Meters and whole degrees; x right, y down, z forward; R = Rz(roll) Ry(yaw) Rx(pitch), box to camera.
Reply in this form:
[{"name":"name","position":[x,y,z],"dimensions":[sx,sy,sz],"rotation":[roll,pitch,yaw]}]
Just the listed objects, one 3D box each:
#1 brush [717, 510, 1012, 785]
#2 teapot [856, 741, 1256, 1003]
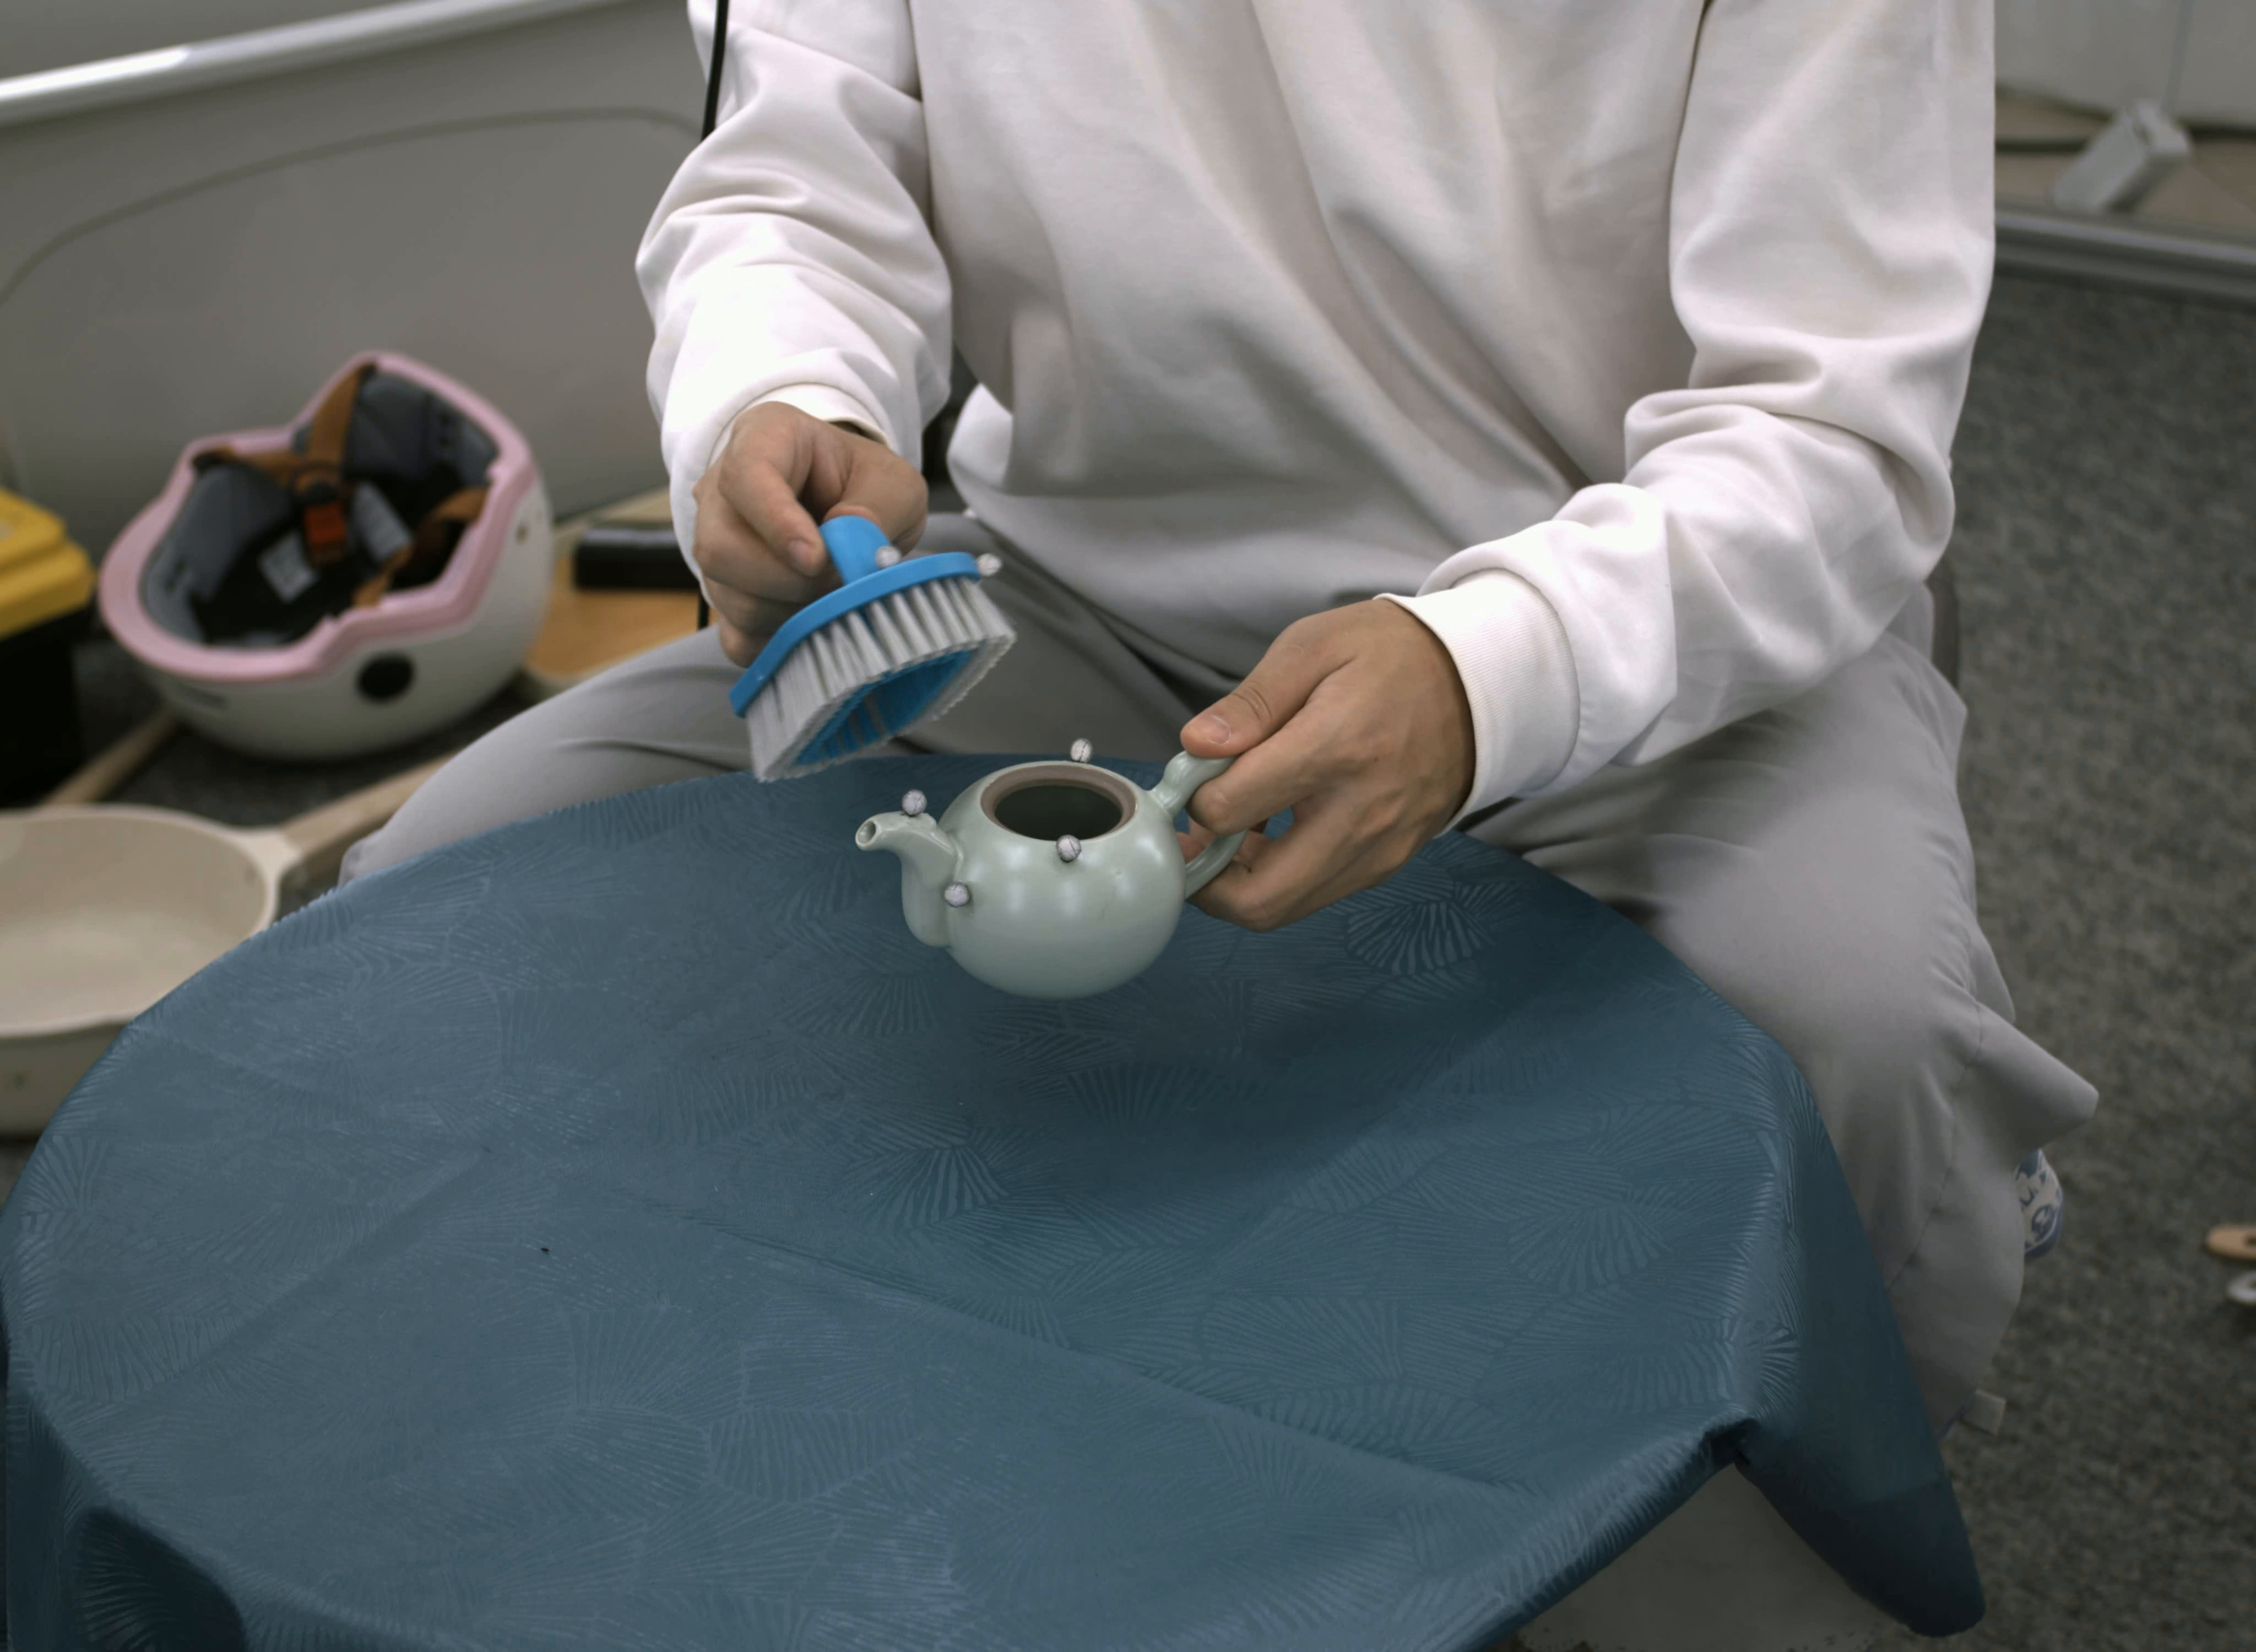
[{"name":"brush","position":[-0.097,-0.067,1.904],"dimensions":[0.085,0.064,0.140],"rotation":[-24,-8,-23]},{"name":"teapot","position":[-0.023,0.018,1.889],"dimensions":[0.144,0.074,0.089],"rotation":[-12,30,-19]}]
